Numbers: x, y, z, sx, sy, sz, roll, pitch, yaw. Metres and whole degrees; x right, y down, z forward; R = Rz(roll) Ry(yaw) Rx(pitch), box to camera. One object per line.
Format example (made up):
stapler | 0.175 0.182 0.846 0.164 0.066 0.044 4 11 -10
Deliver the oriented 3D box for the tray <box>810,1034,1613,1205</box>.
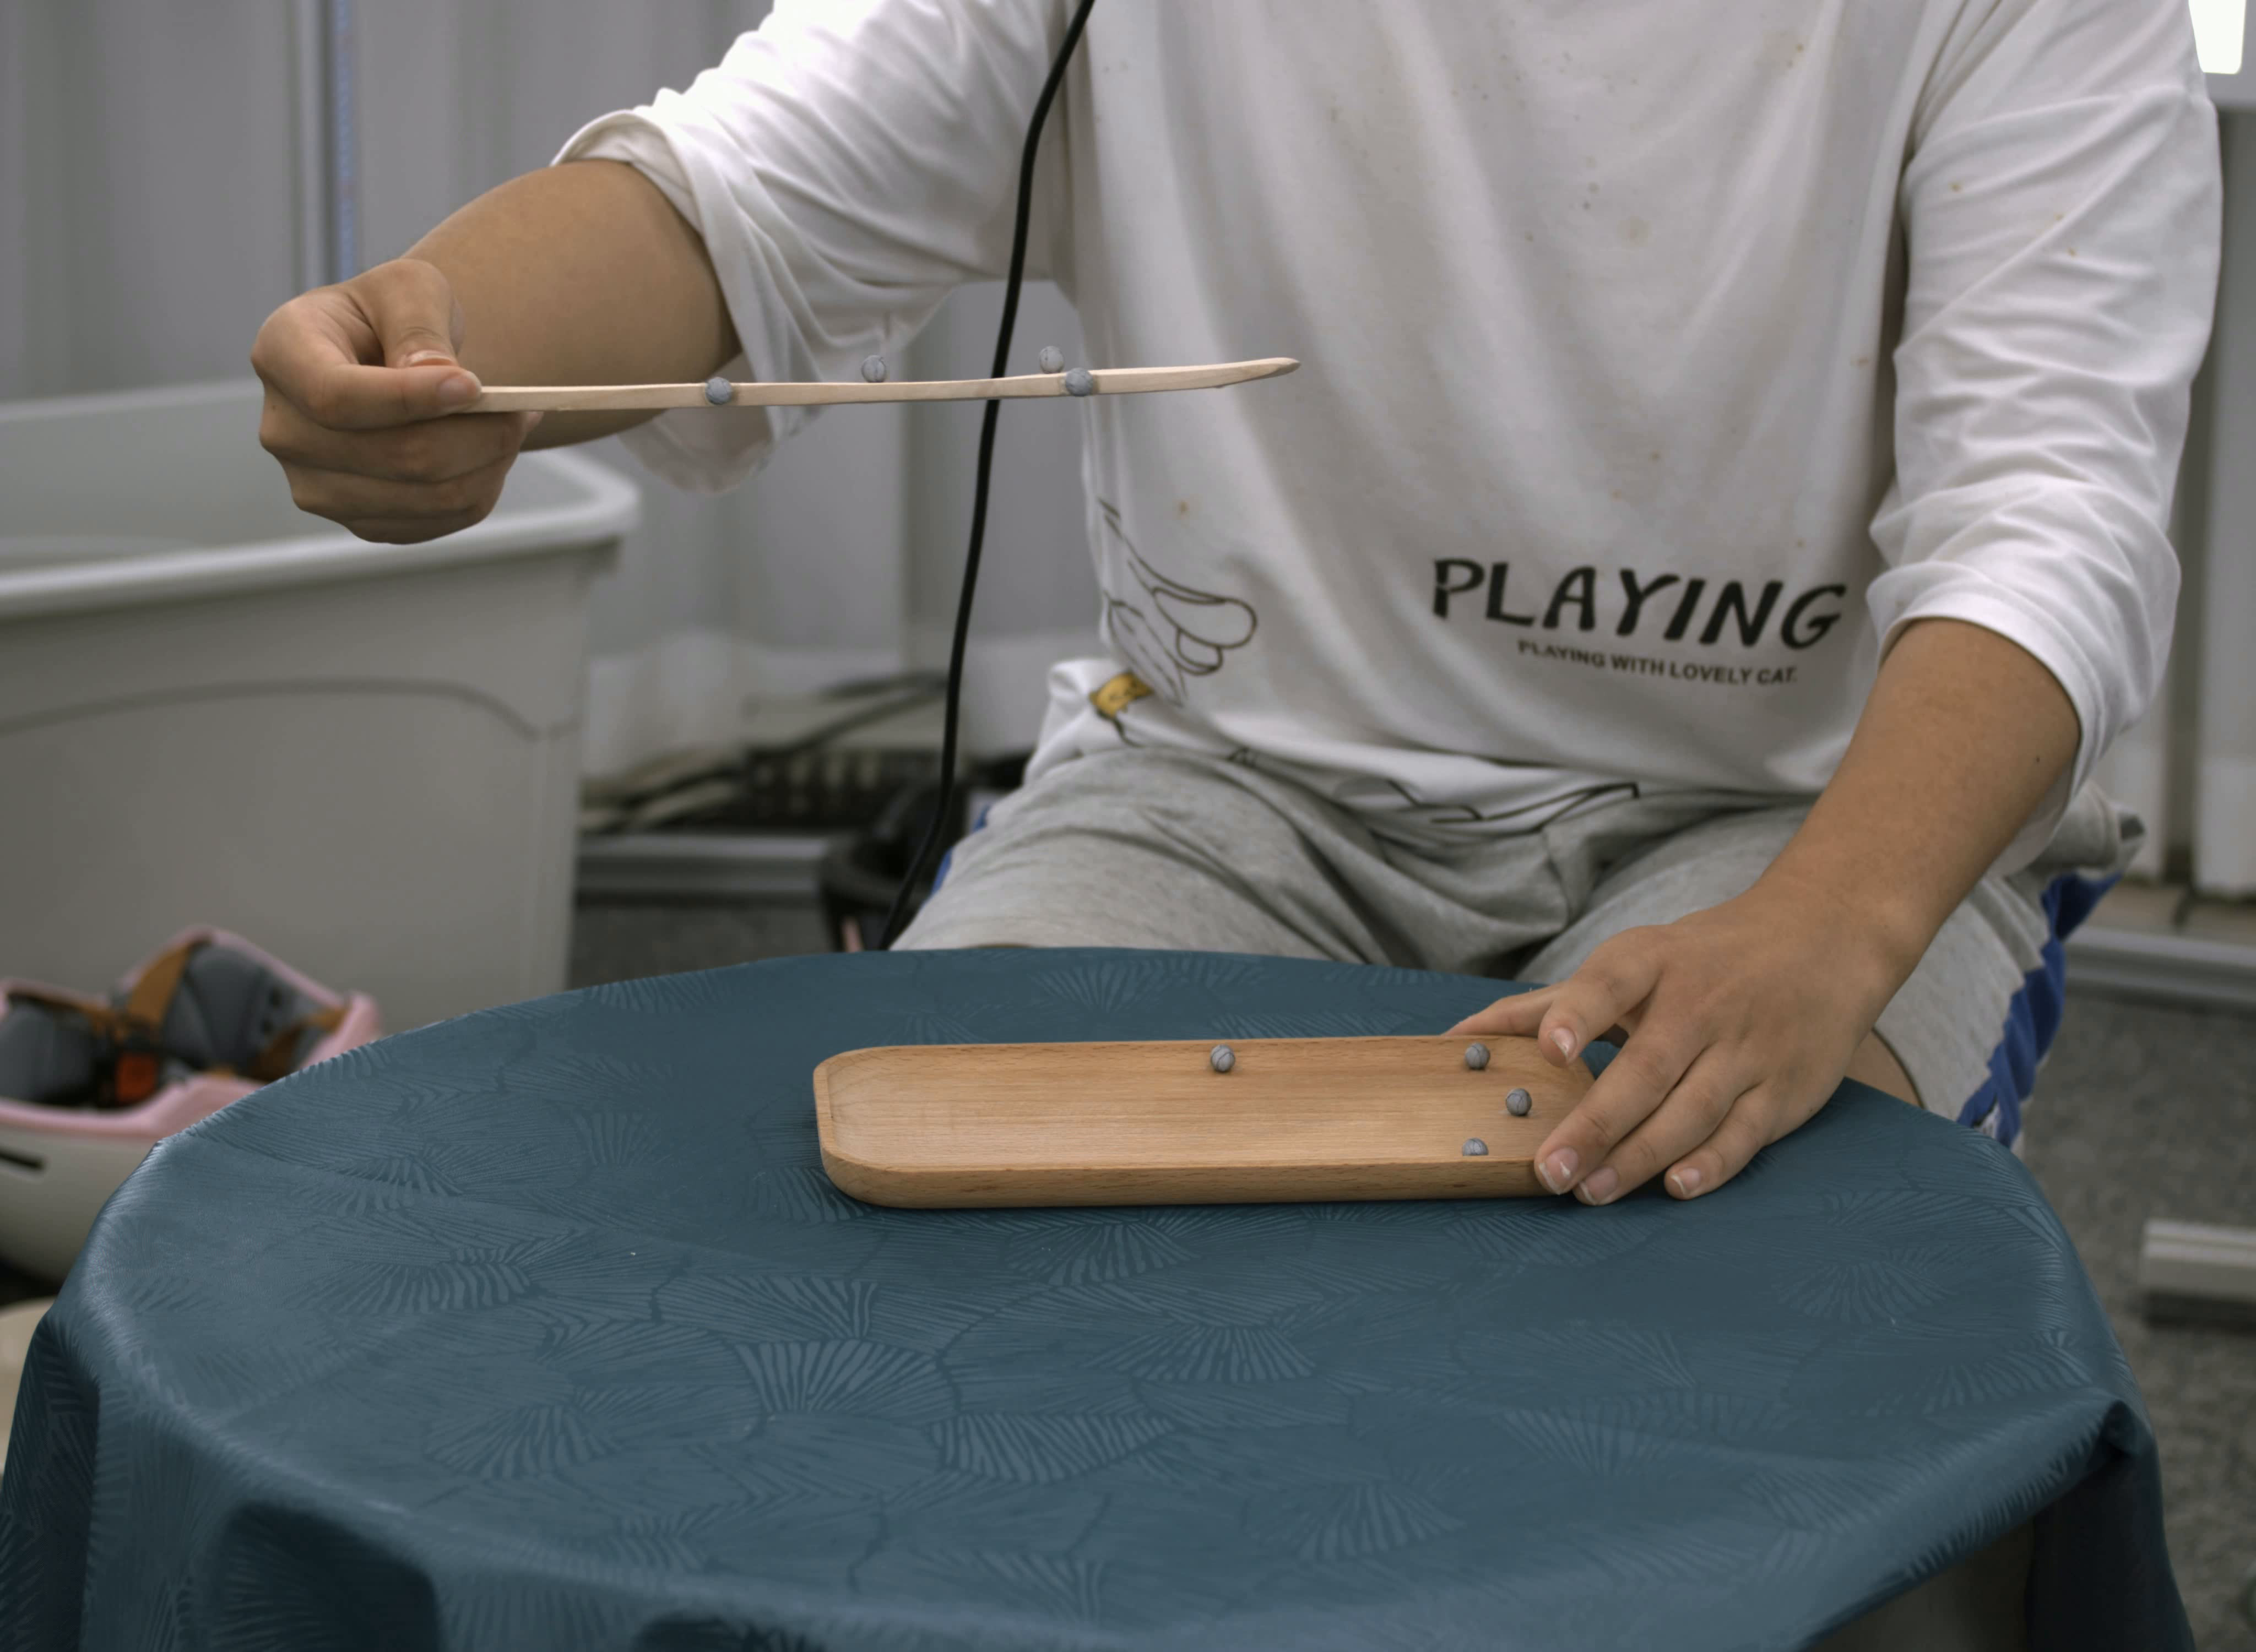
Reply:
tray | 0.025 0.093 1.673 0.250 0.023 0.130 -1 13 -5

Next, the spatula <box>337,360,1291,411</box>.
spatula | -0.097 -0.133 1.600 0.291 0.011 0.072 -1 6 6
